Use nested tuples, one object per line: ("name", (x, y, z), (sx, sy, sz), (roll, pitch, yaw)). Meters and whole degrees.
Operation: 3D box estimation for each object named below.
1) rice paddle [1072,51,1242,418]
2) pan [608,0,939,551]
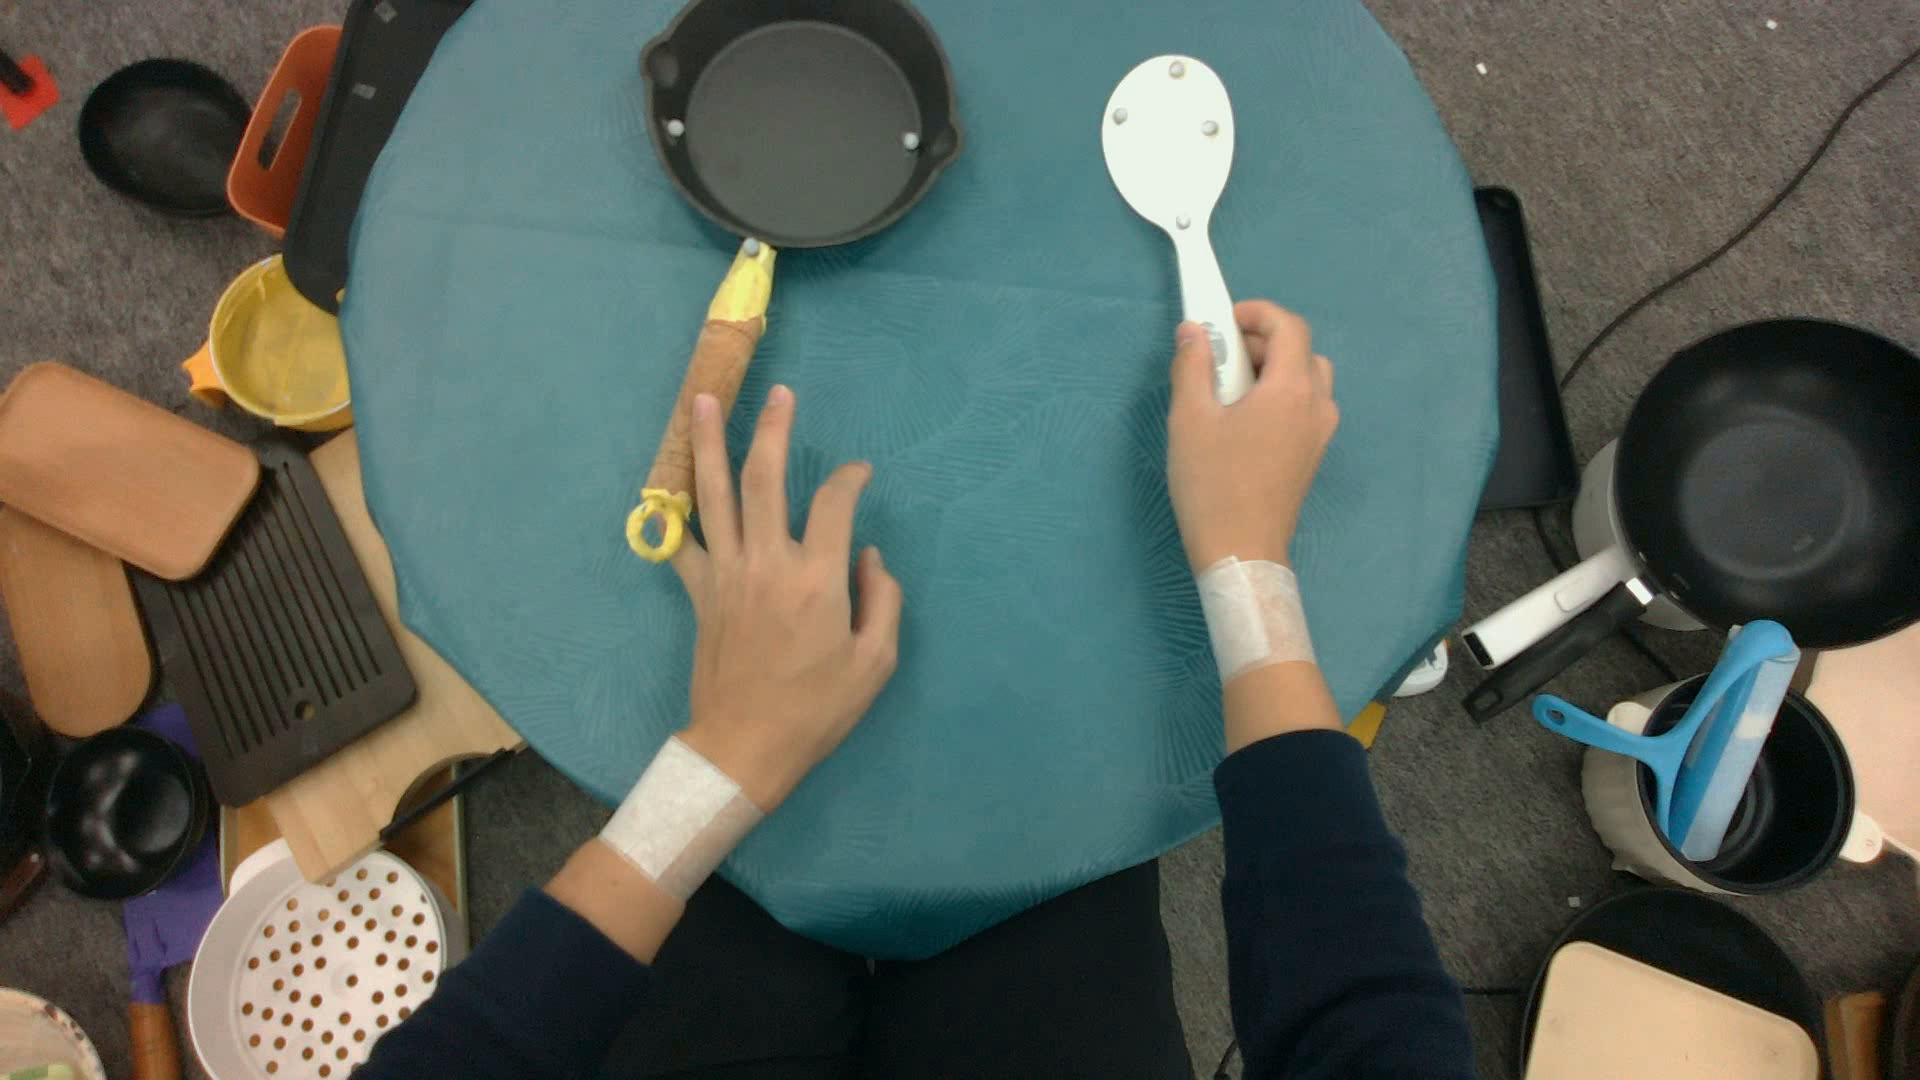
("rice paddle", (0.106, -0.165, 0.723), (0.068, 0.029, 0.205), (-16, 78, 17))
("pan", (-0.116, -0.146, 0.690), (0.169, 0.049, 0.325), (16, 75, -2))
